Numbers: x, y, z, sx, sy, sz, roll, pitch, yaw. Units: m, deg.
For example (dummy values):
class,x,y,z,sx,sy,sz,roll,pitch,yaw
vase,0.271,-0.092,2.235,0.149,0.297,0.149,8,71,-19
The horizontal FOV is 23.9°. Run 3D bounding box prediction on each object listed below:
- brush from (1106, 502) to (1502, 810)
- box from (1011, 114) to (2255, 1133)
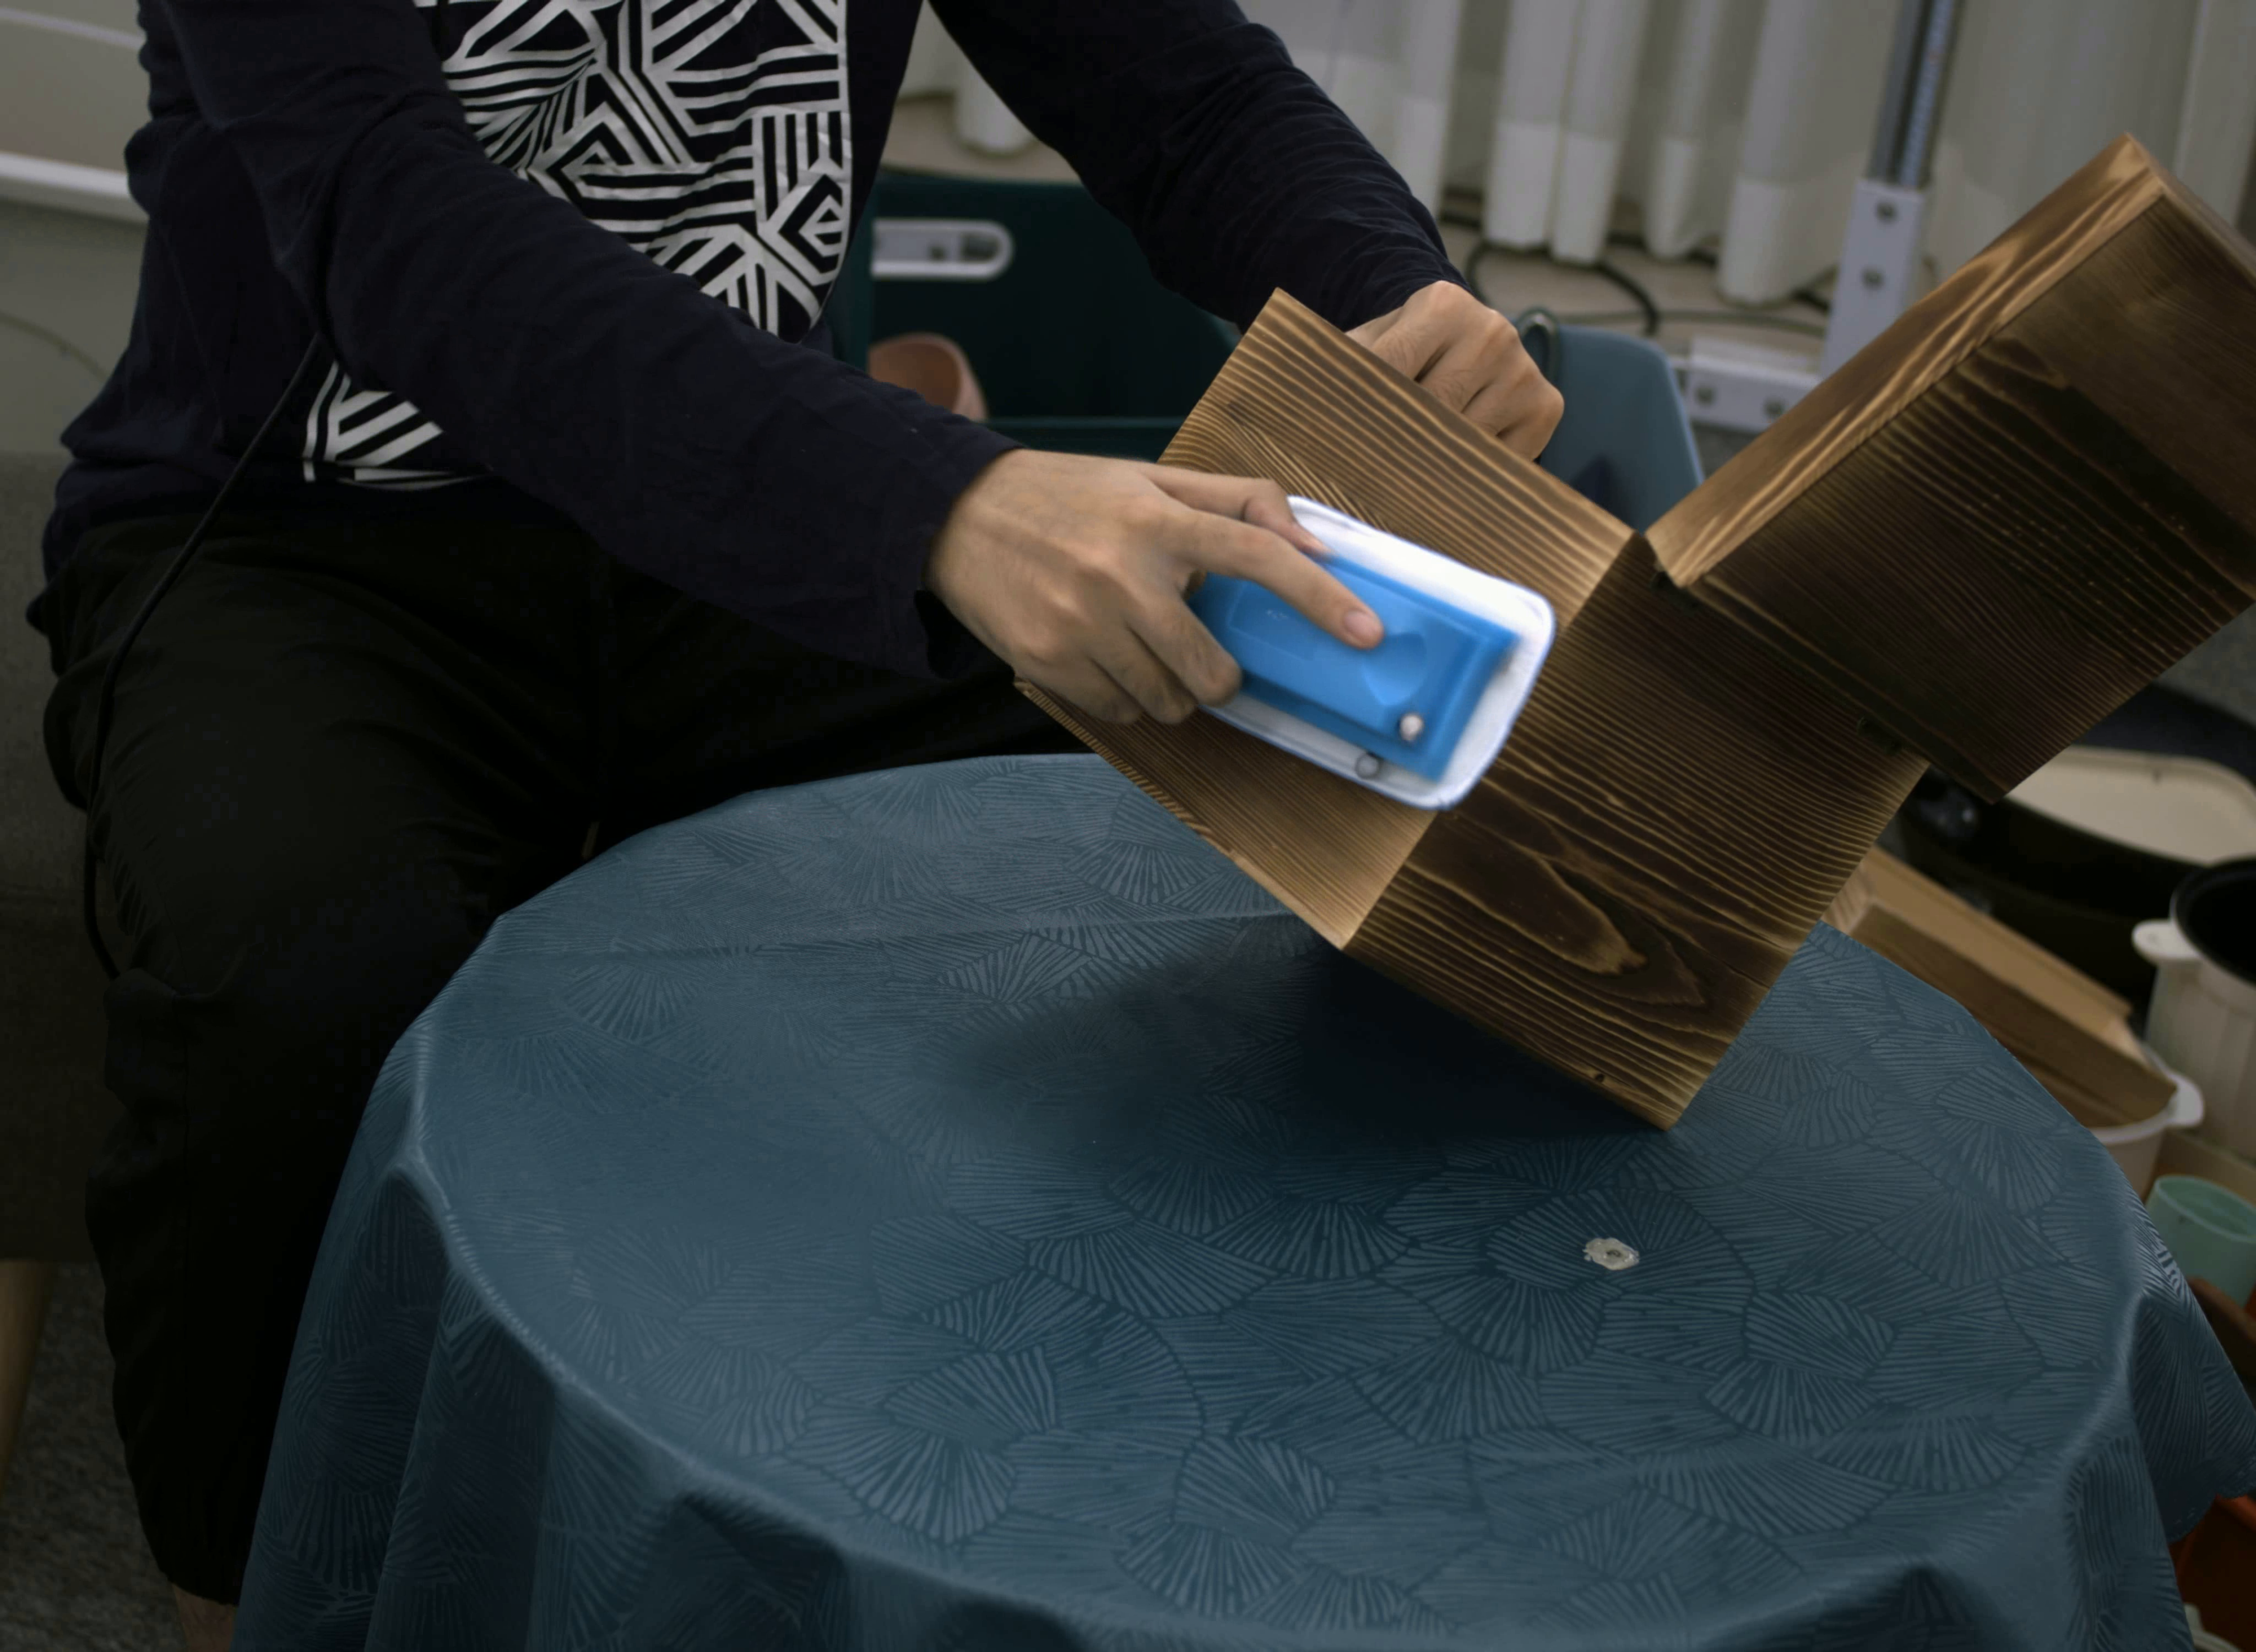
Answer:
class,x,y,z,sx,sy,sz,roll,pitch,yaw
brush,0.050,-0.062,1.754,0.145,0.084,0.055,24,-7,41
box,0.205,-0.095,1.831,0.206,0.375,0.325,29,7,-45
